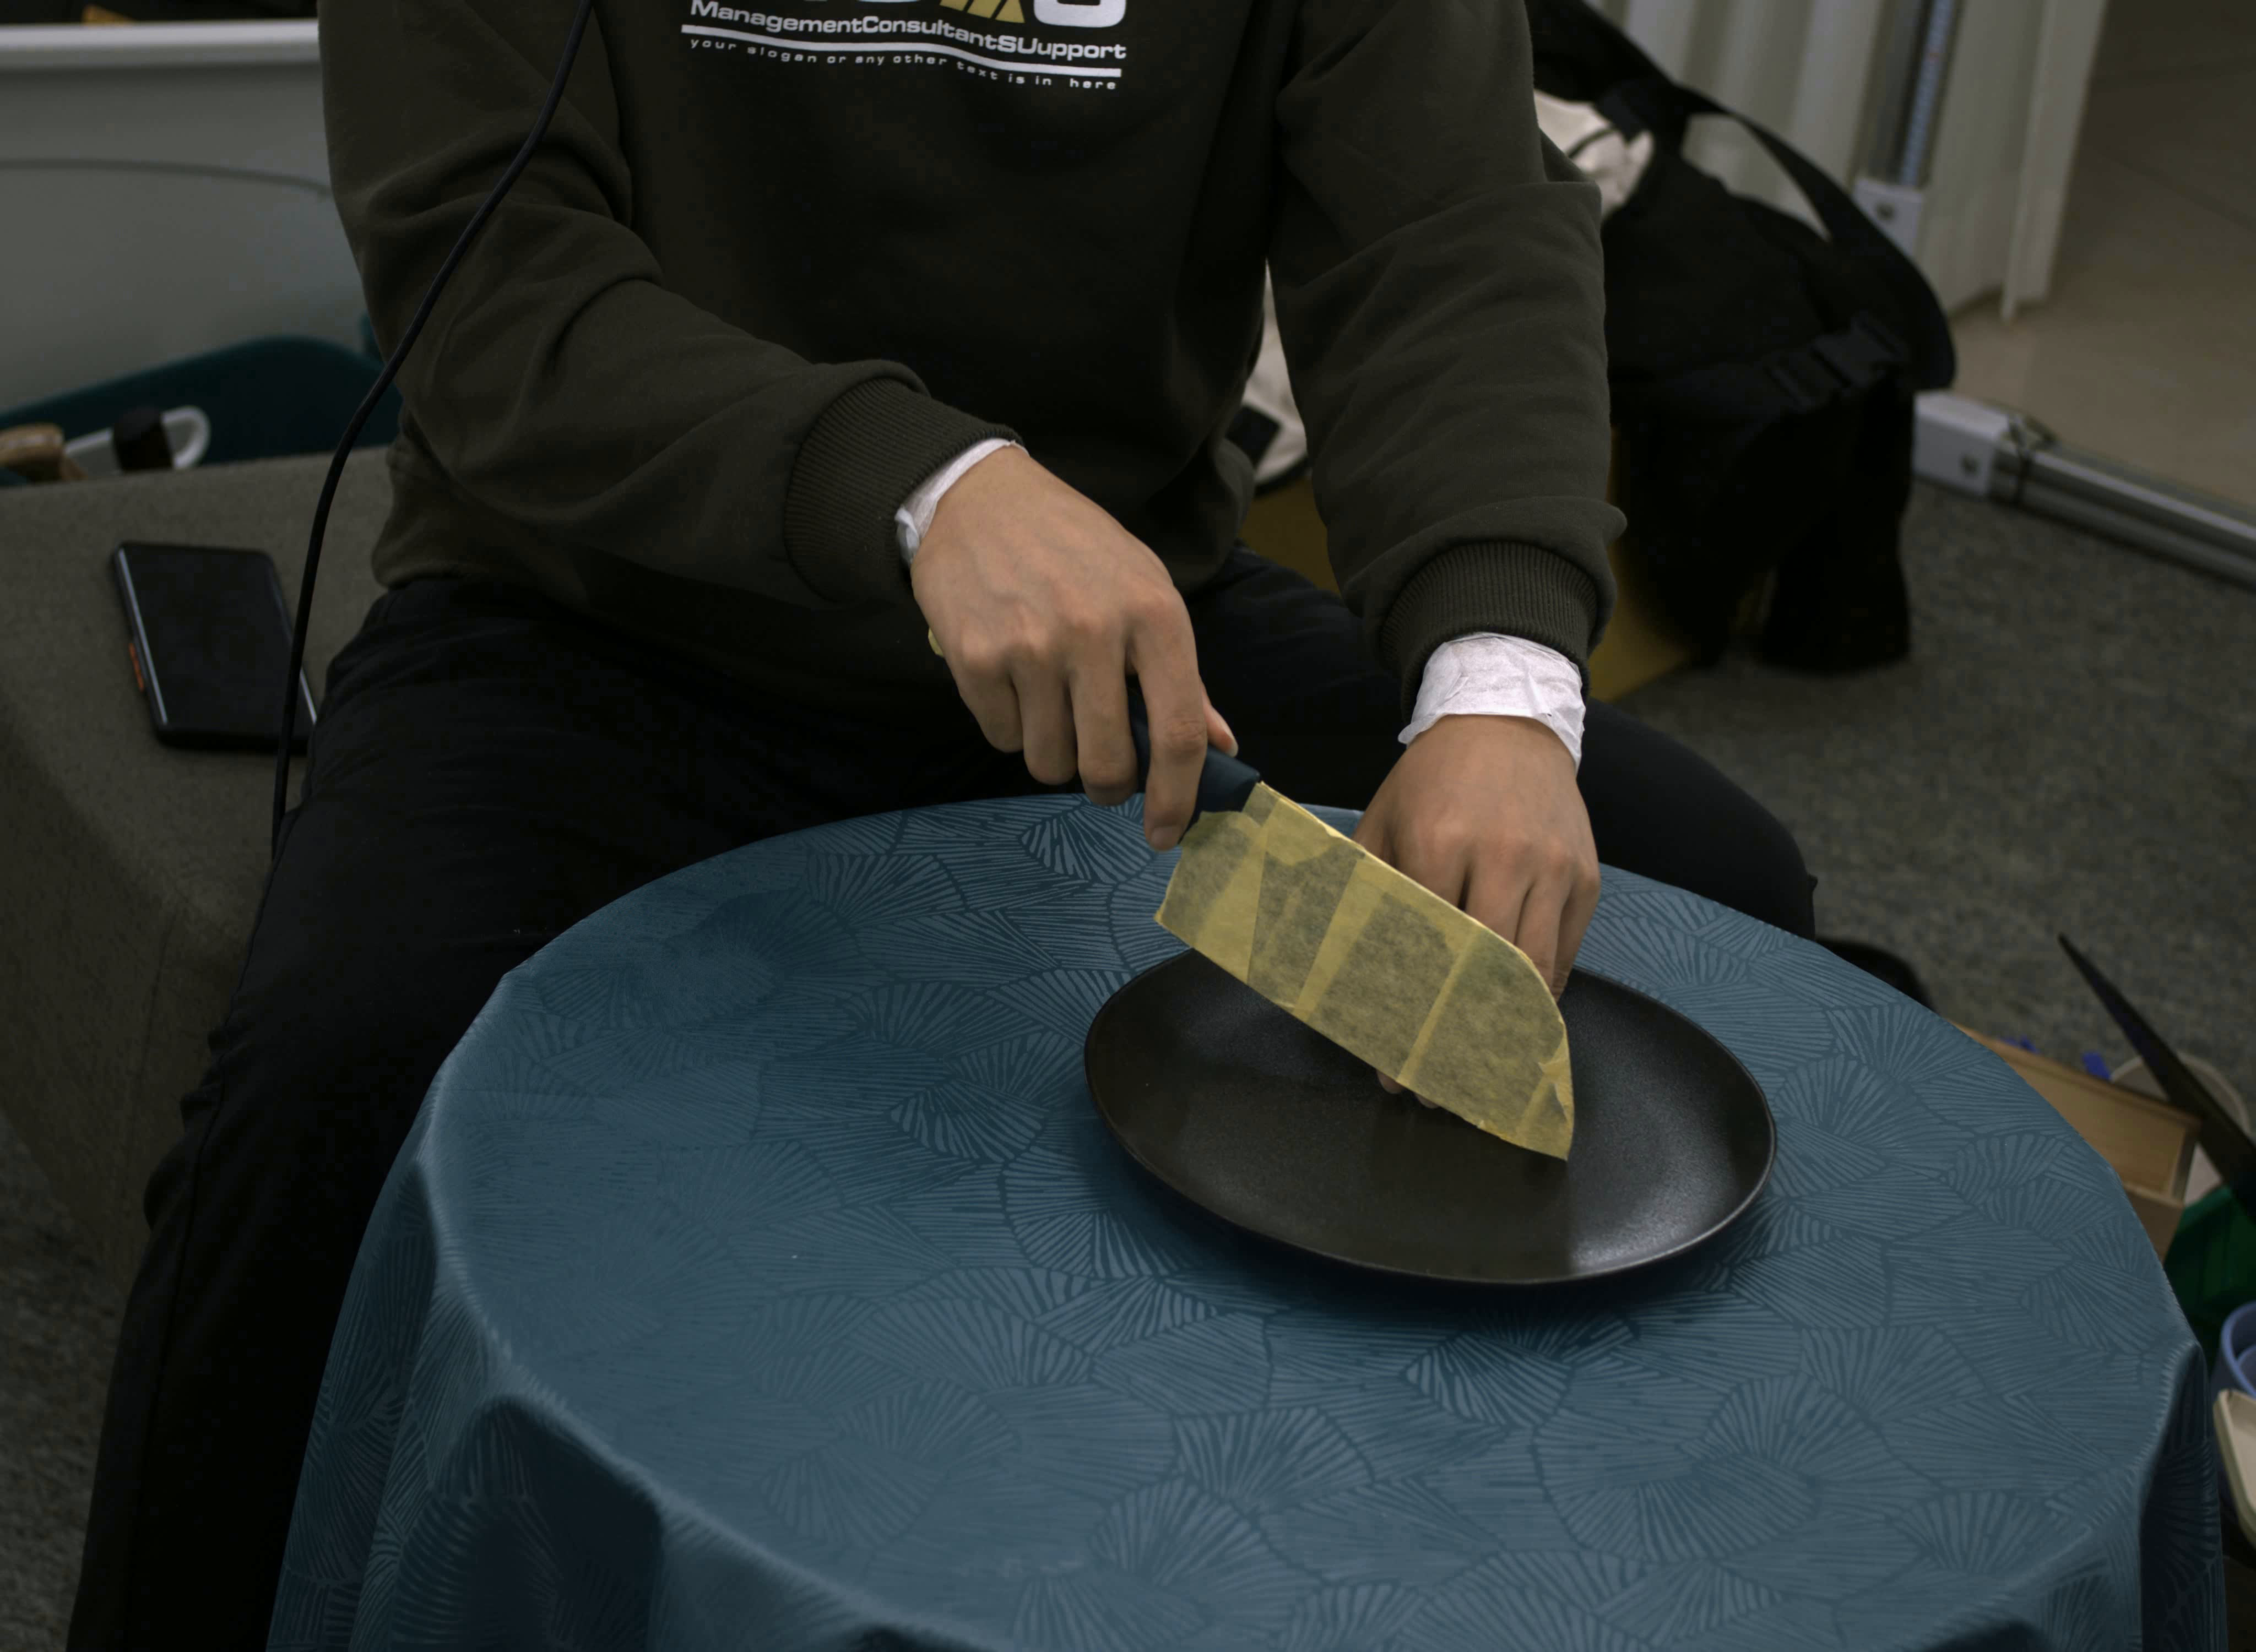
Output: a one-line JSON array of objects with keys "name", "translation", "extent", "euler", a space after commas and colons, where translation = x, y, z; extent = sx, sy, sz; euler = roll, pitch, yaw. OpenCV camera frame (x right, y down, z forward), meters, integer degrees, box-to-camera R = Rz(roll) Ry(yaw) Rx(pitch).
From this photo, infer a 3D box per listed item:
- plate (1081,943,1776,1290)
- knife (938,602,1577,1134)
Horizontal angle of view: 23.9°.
[{"name": "plate", "translation": [0.103, 0.102, 1.846], "extent": [0.243, 0.023, 0.246], "euler": [5, 27, -3]}, {"name": "knife", "translation": [0.042, 0.015, 1.868], "extent": [0.291, 0.081, 0.027], "euler": [37, 29, 17]}]
